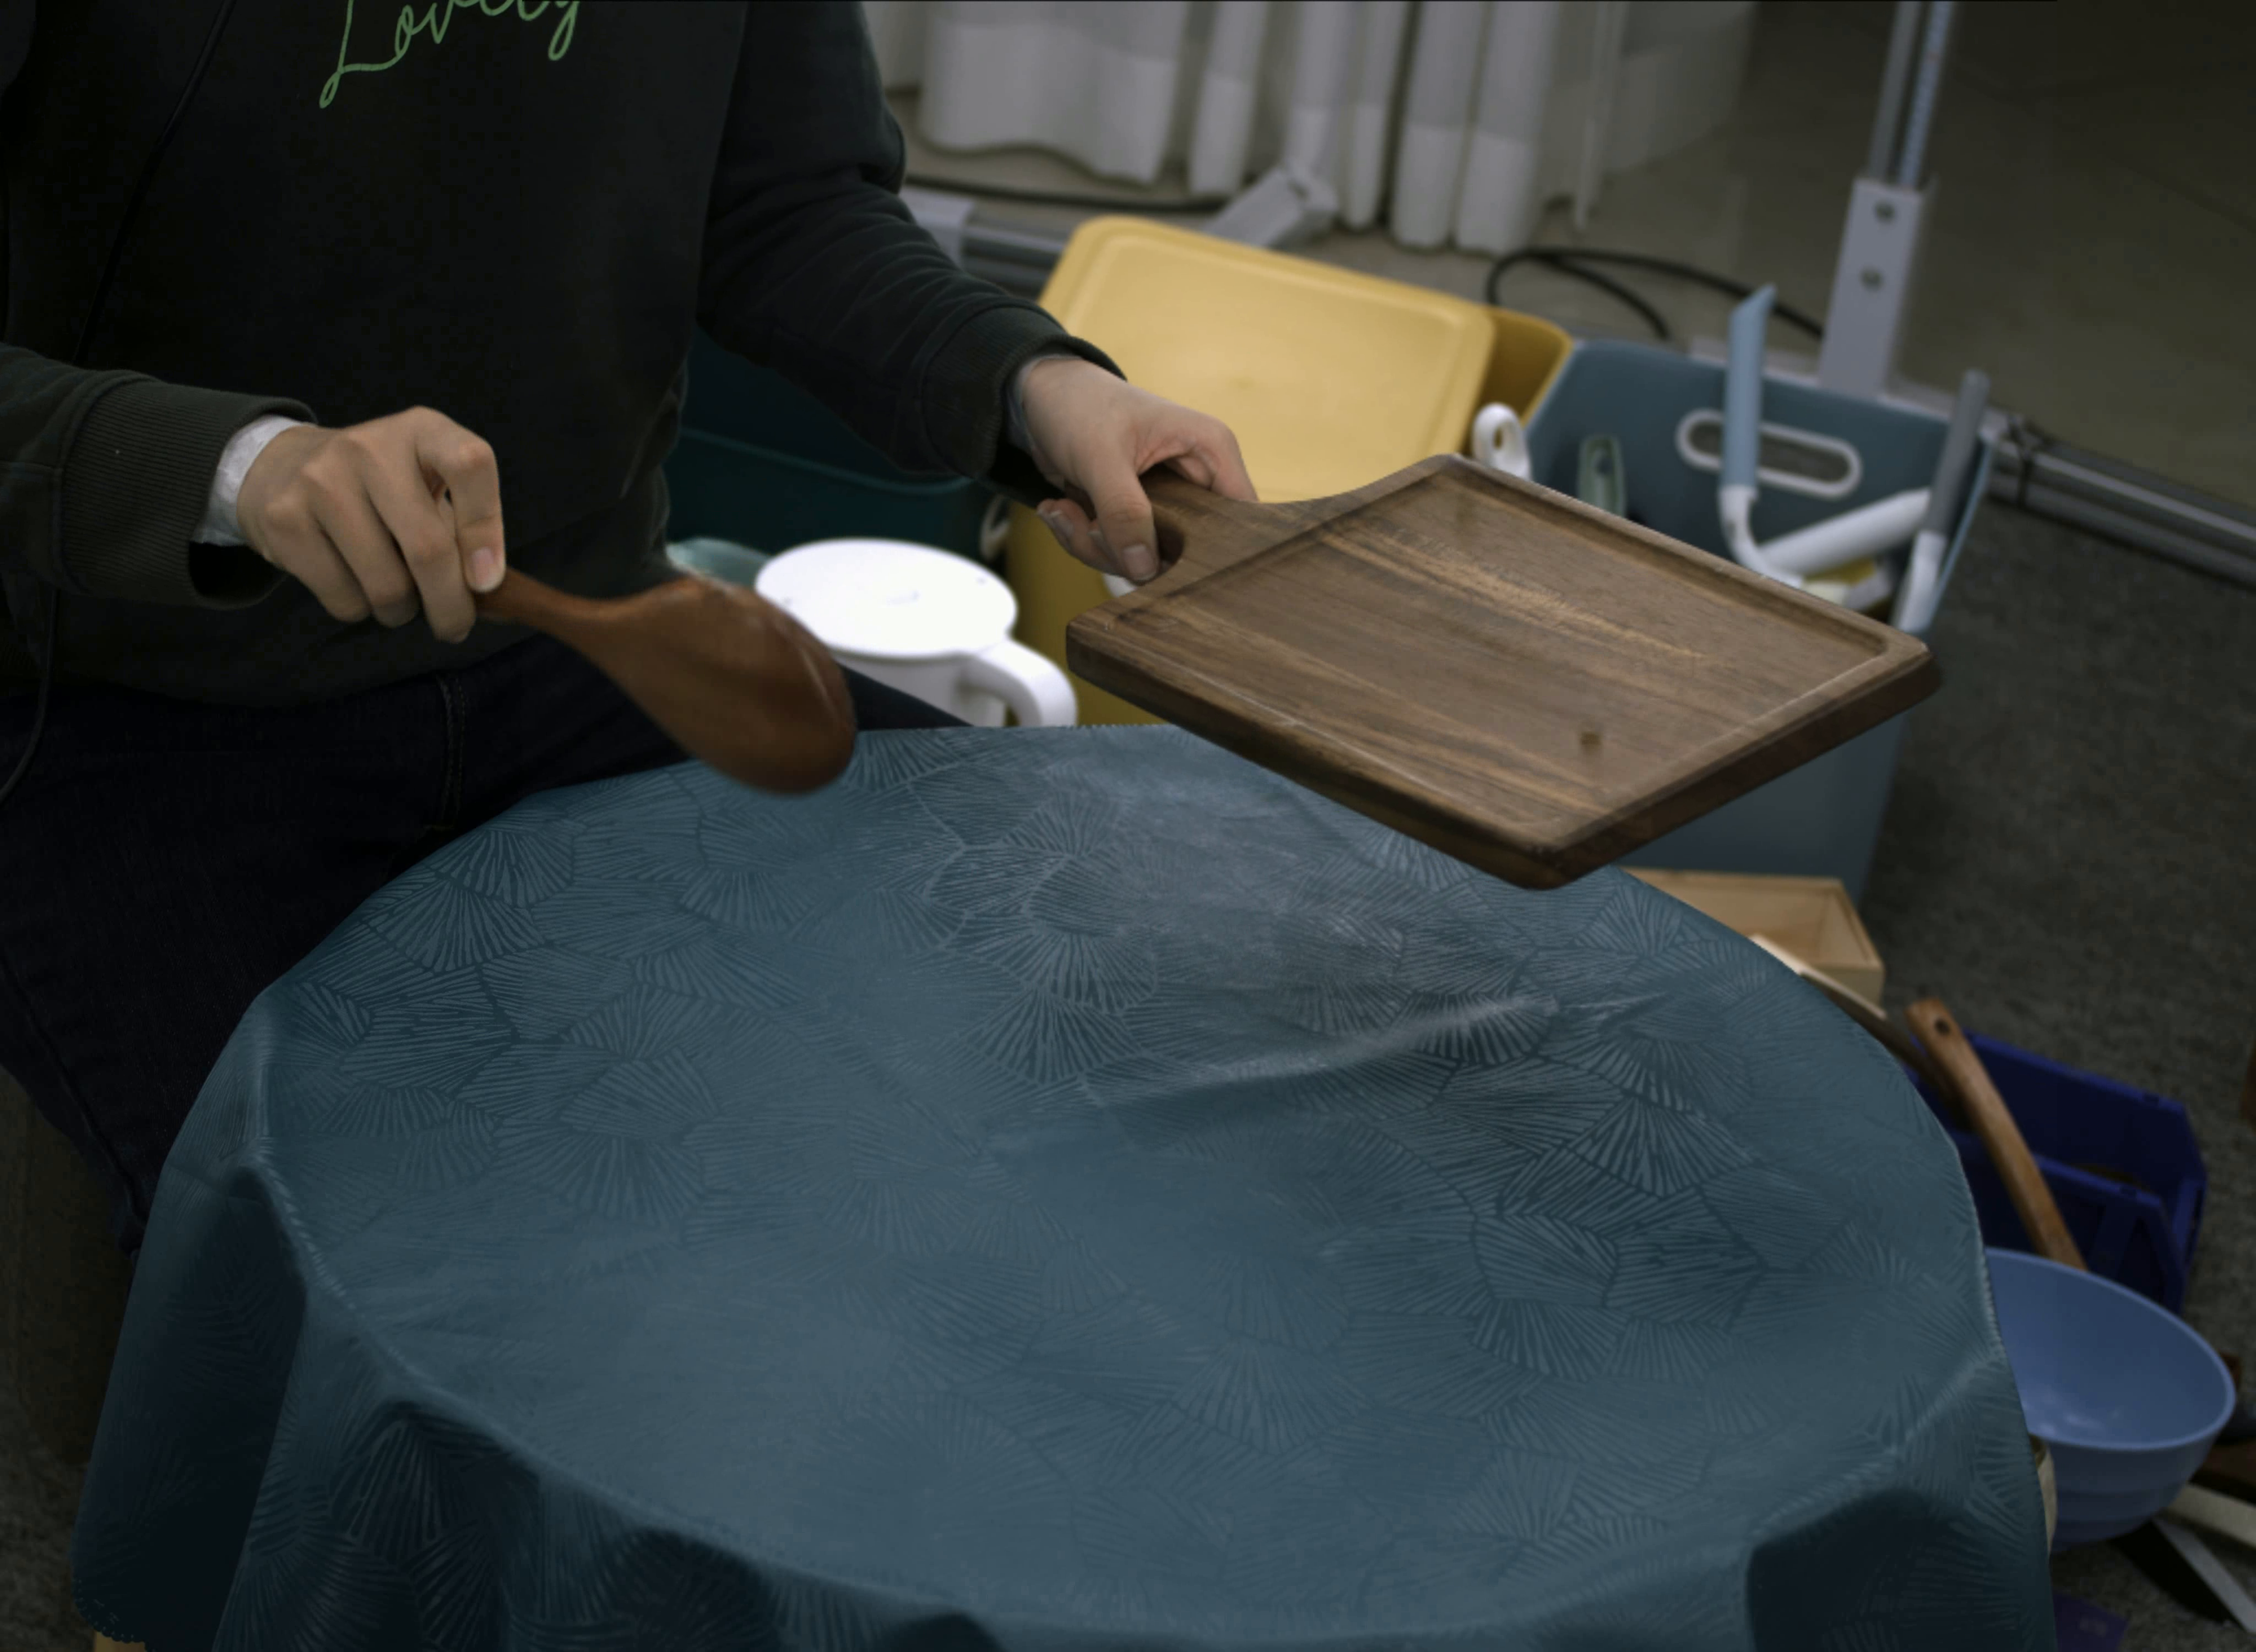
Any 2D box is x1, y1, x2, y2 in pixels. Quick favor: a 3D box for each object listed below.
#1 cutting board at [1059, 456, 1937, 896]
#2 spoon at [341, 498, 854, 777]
[{"bbox_3d":[0.097,-0.074,1.907,0.200,0.023,0.355,-26,34,-32],"label":"cutting board"},{"bbox_3d":[-0.174,-0.066,1.714,0.217,0.075,0.017,21,46,33],"label":"spoon"}]
